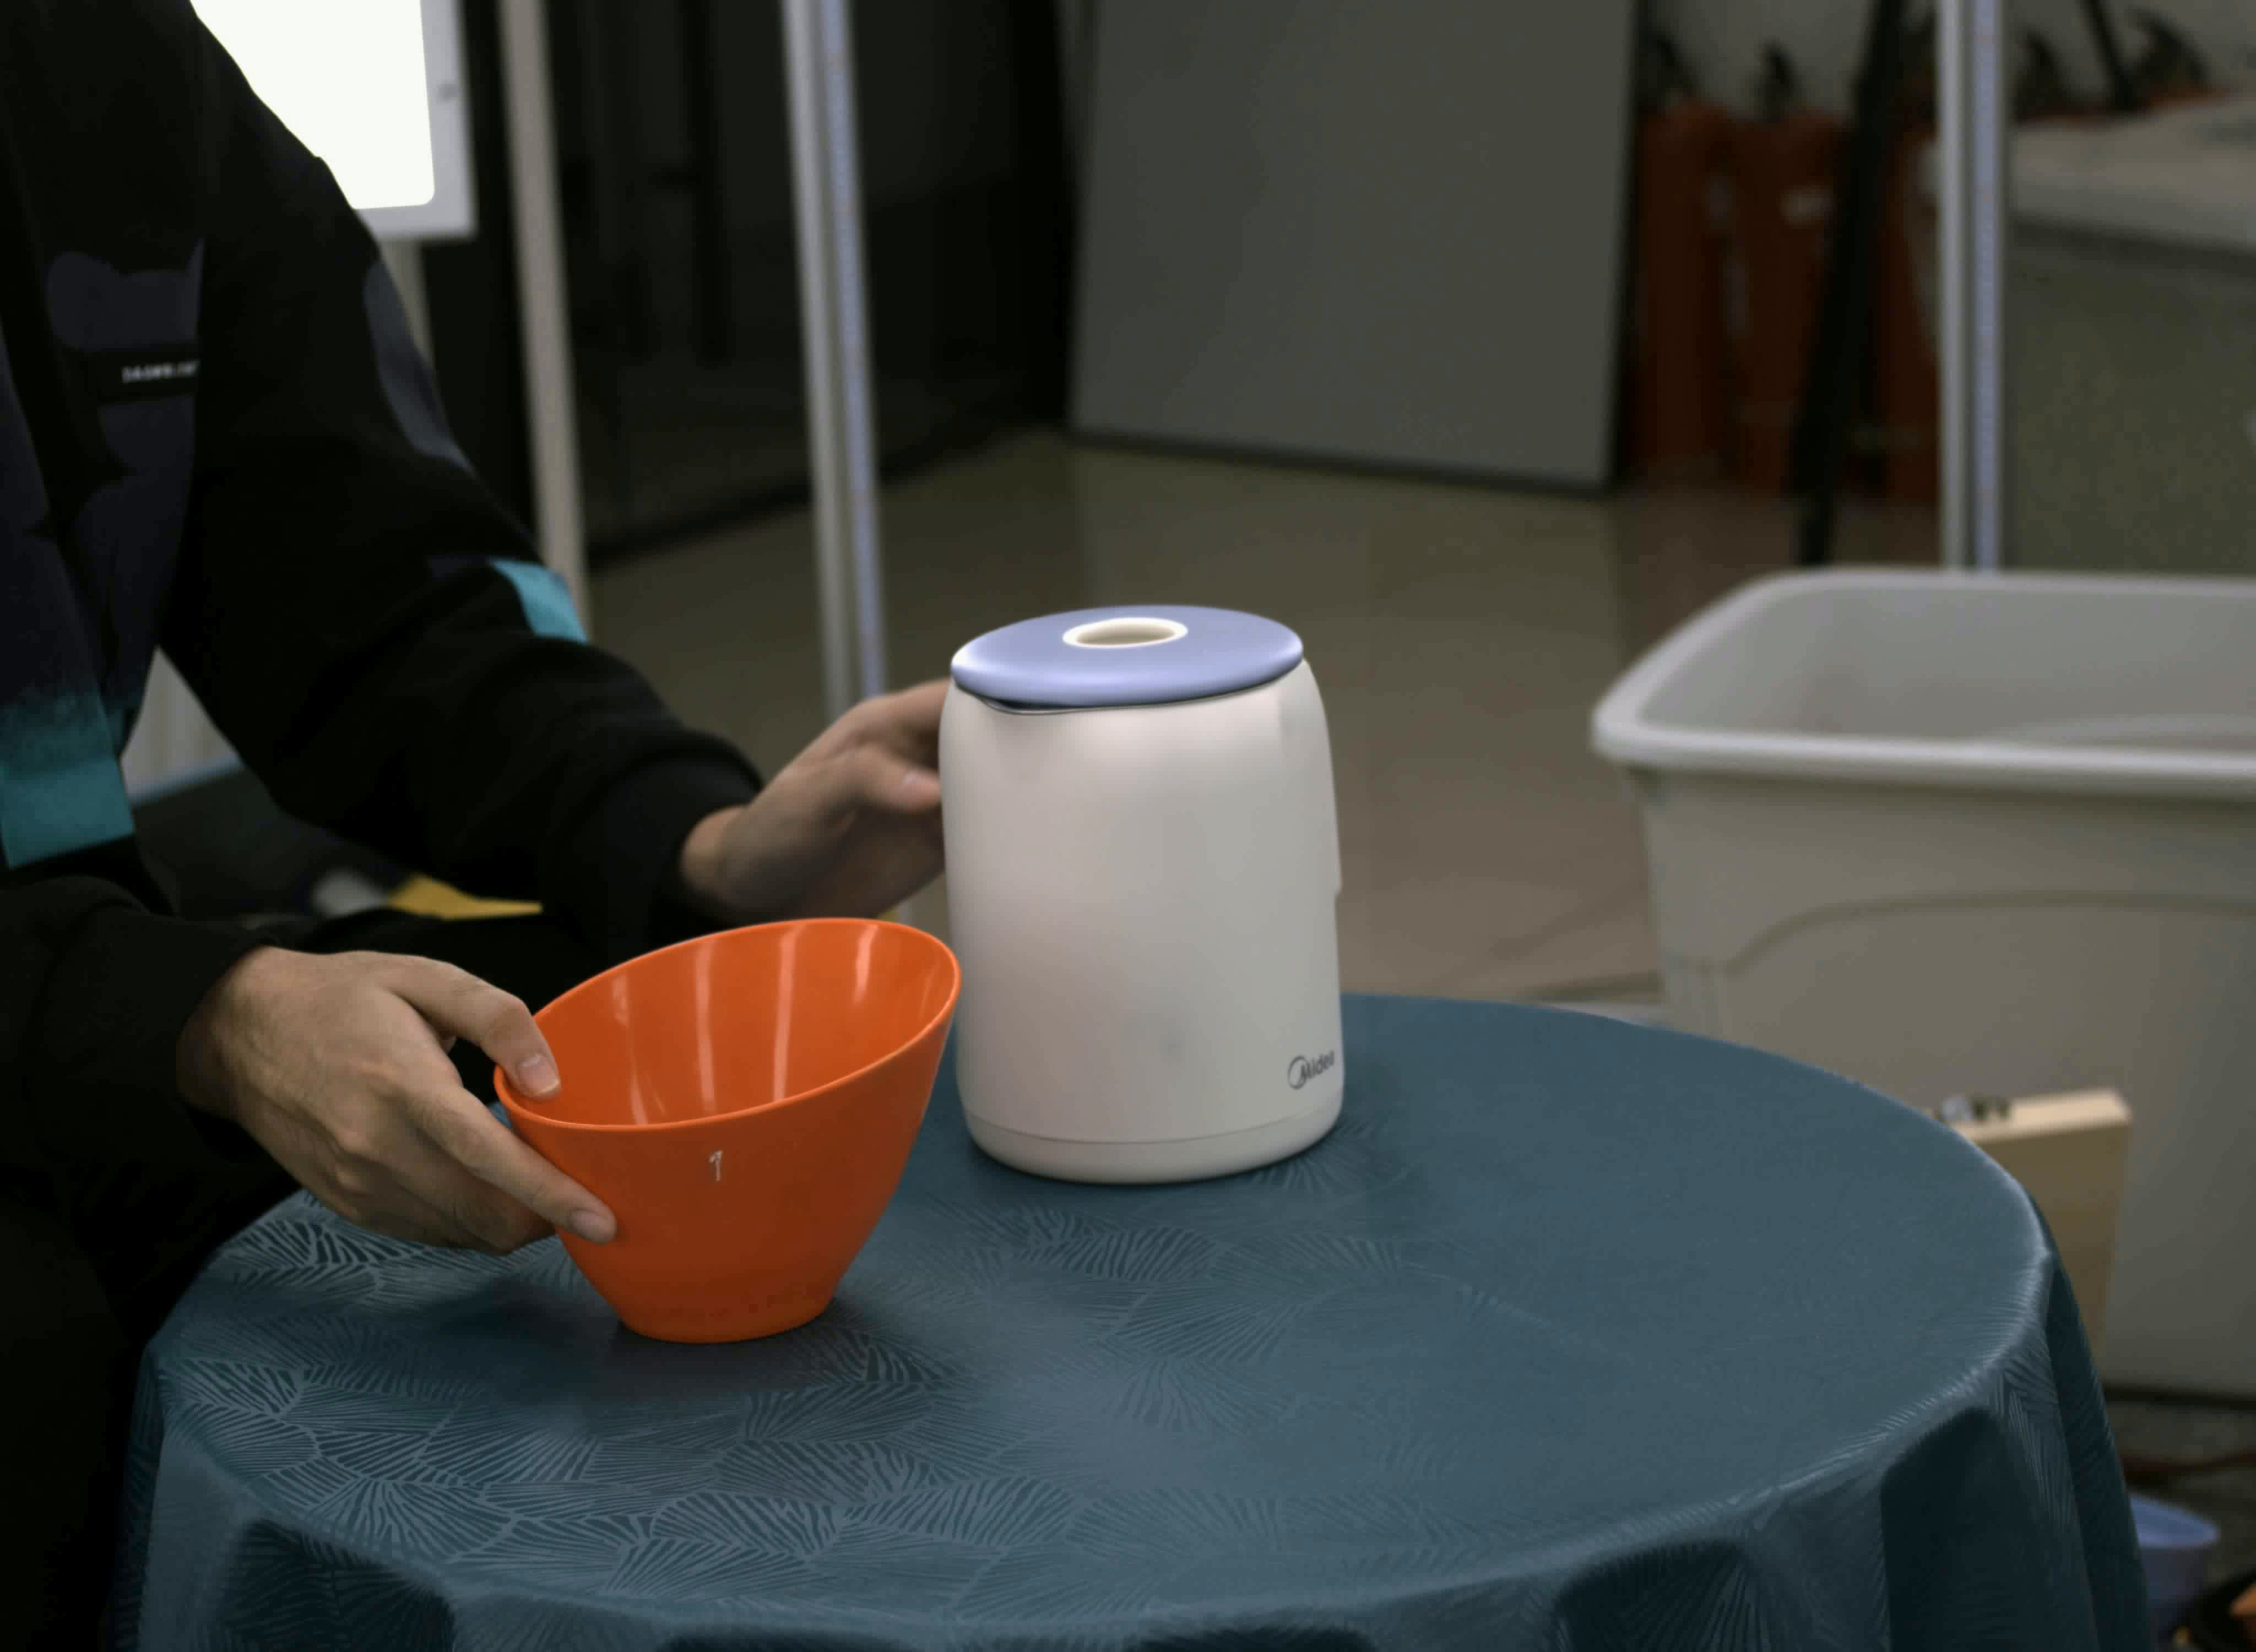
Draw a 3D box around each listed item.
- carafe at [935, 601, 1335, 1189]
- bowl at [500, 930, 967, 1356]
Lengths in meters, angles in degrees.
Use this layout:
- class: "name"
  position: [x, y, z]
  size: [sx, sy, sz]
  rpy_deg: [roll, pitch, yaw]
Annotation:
- class: "carafe"
  position: [0.015, 0.017, 1.831]
  size: [0.133, 0.184, 0.188]
  rpy_deg: [6, 14, 31]
- class: "bowl"
  position: [-0.118, 0.101, 1.676]
  size: [0.146, 0.106, 0.148]
  rpy_deg: [-4, 14, 0]
